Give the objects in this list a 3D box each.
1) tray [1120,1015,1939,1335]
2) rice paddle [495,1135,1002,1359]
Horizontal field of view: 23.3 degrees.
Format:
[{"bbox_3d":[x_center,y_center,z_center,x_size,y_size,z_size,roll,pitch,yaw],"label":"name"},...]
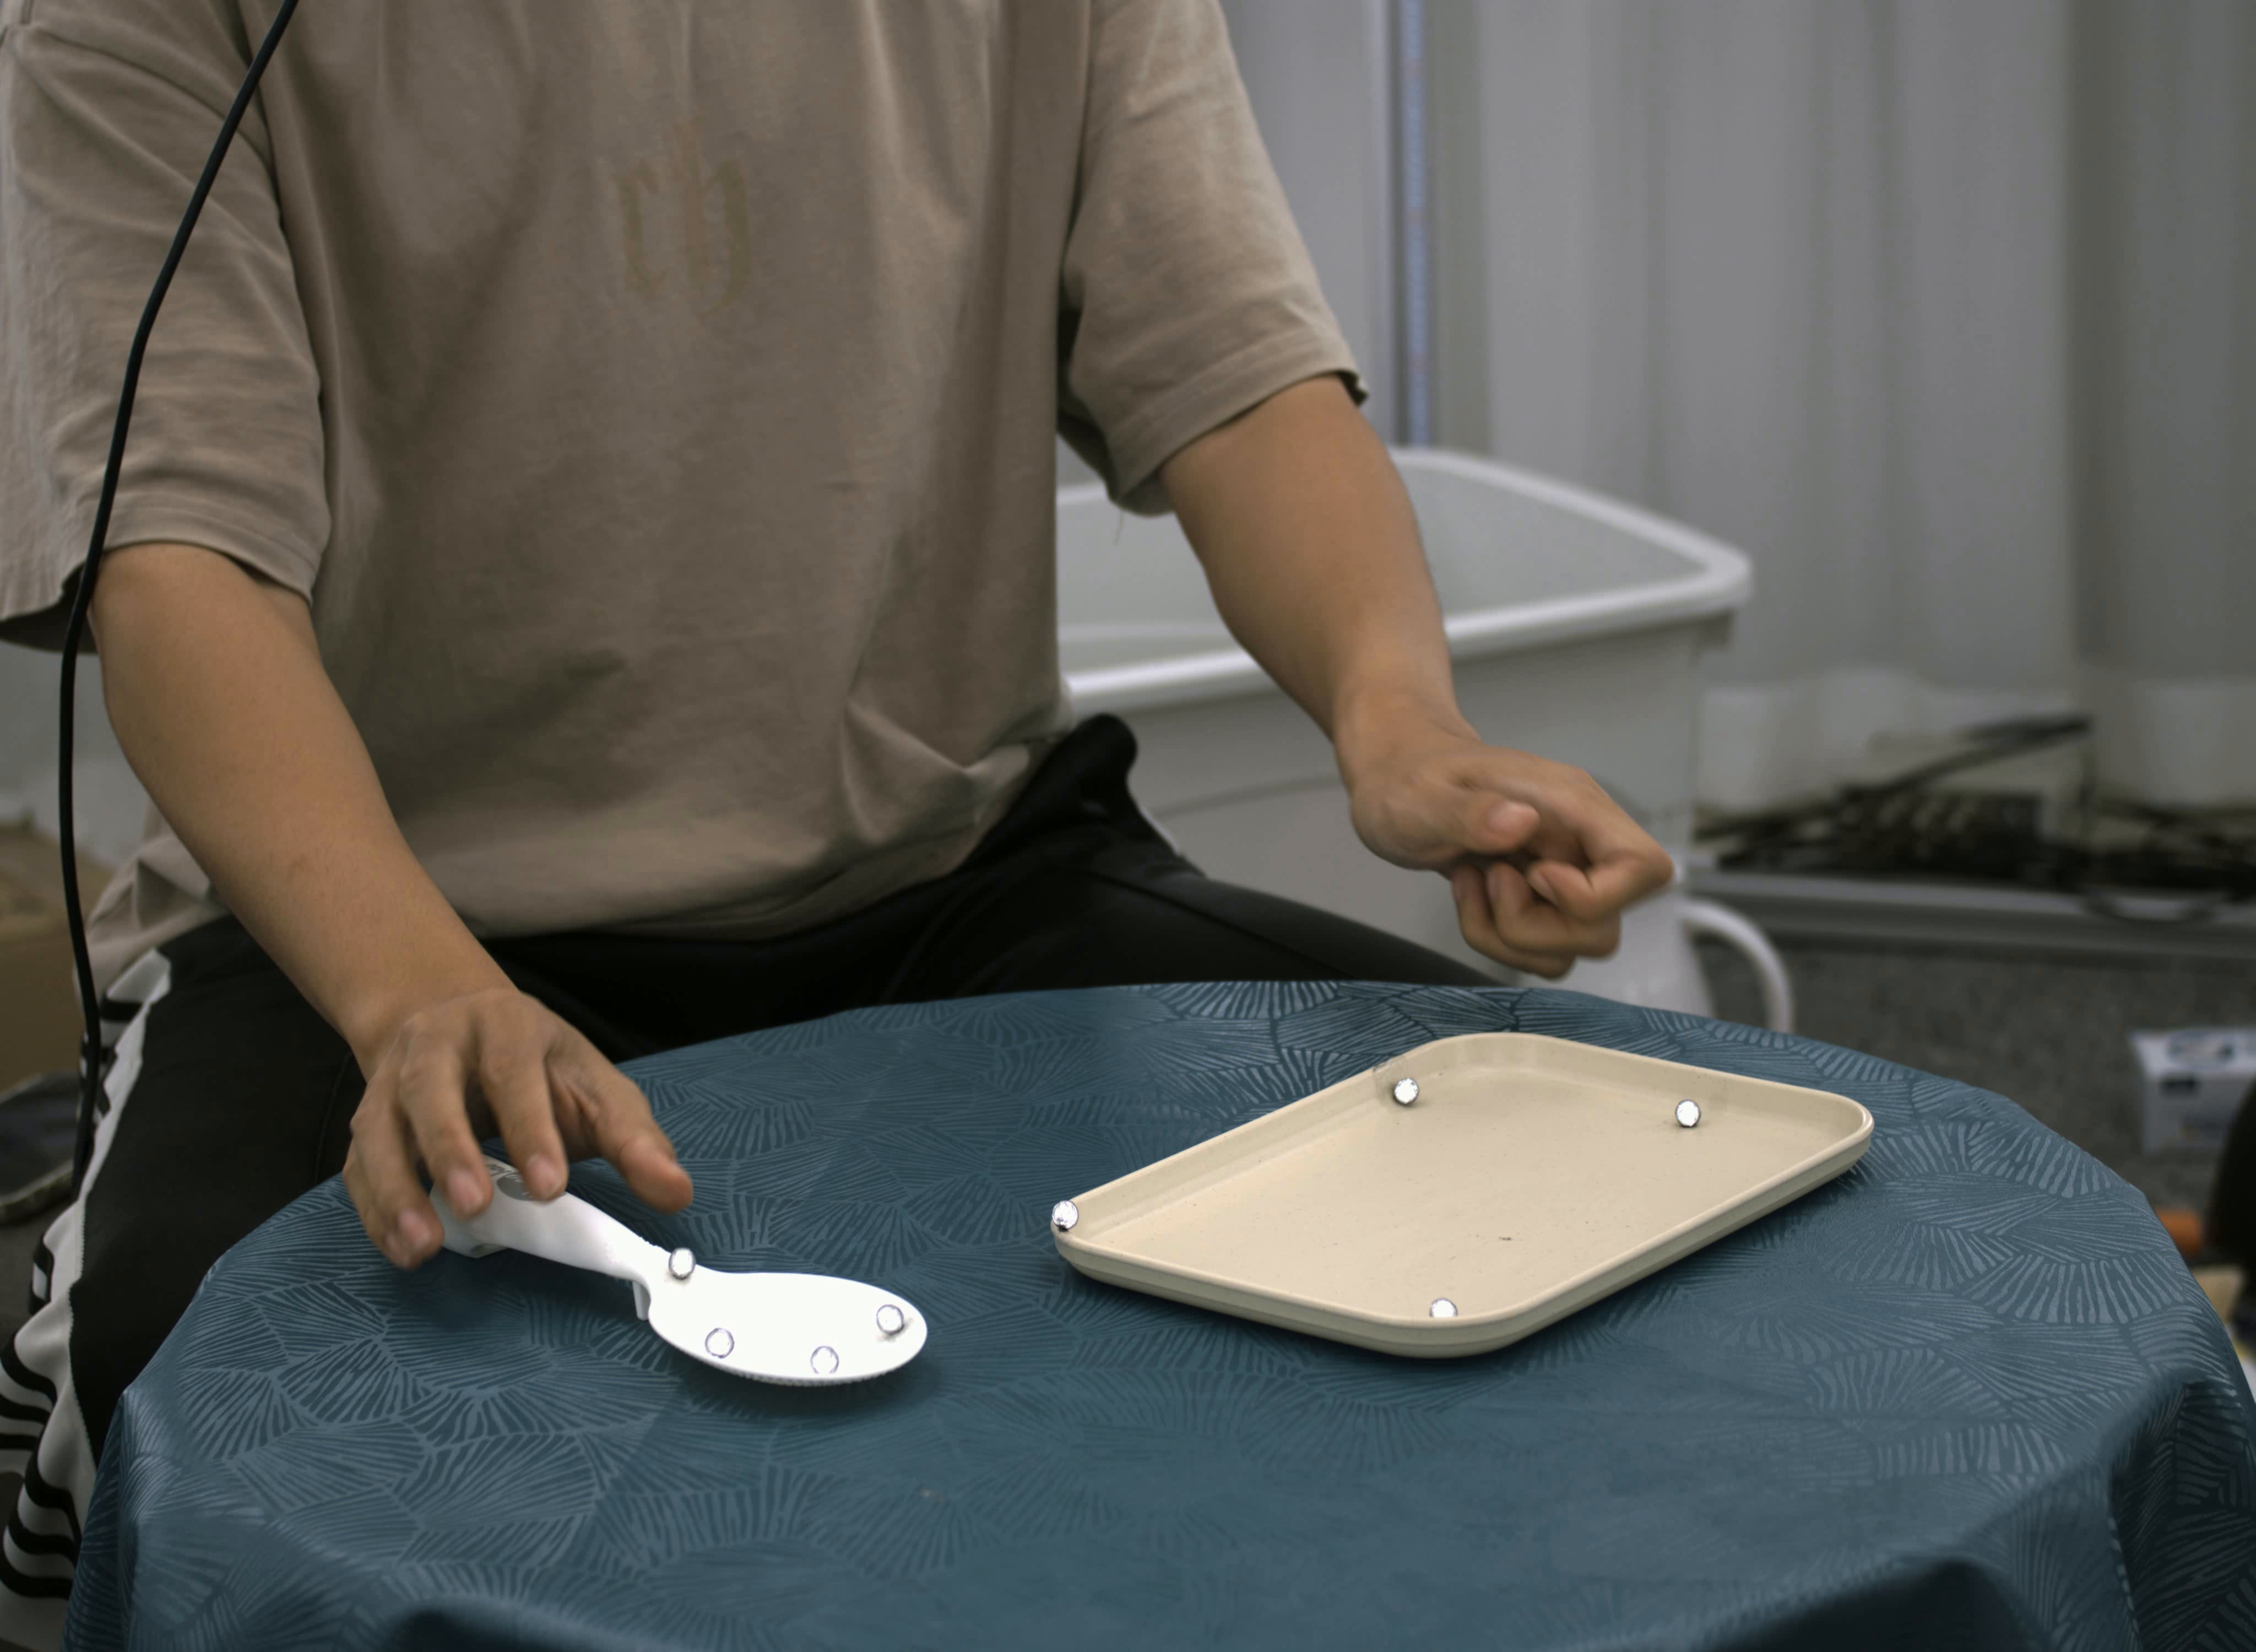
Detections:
[{"bbox_3d":[0.125,0.106,1.675,0.172,0.017,0.239,10,20,39],"label":"tray"},{"bbox_3d":[-0.114,0.126,1.615,0.068,0.029,0.206,-17,20,-39],"label":"rice paddle"}]
